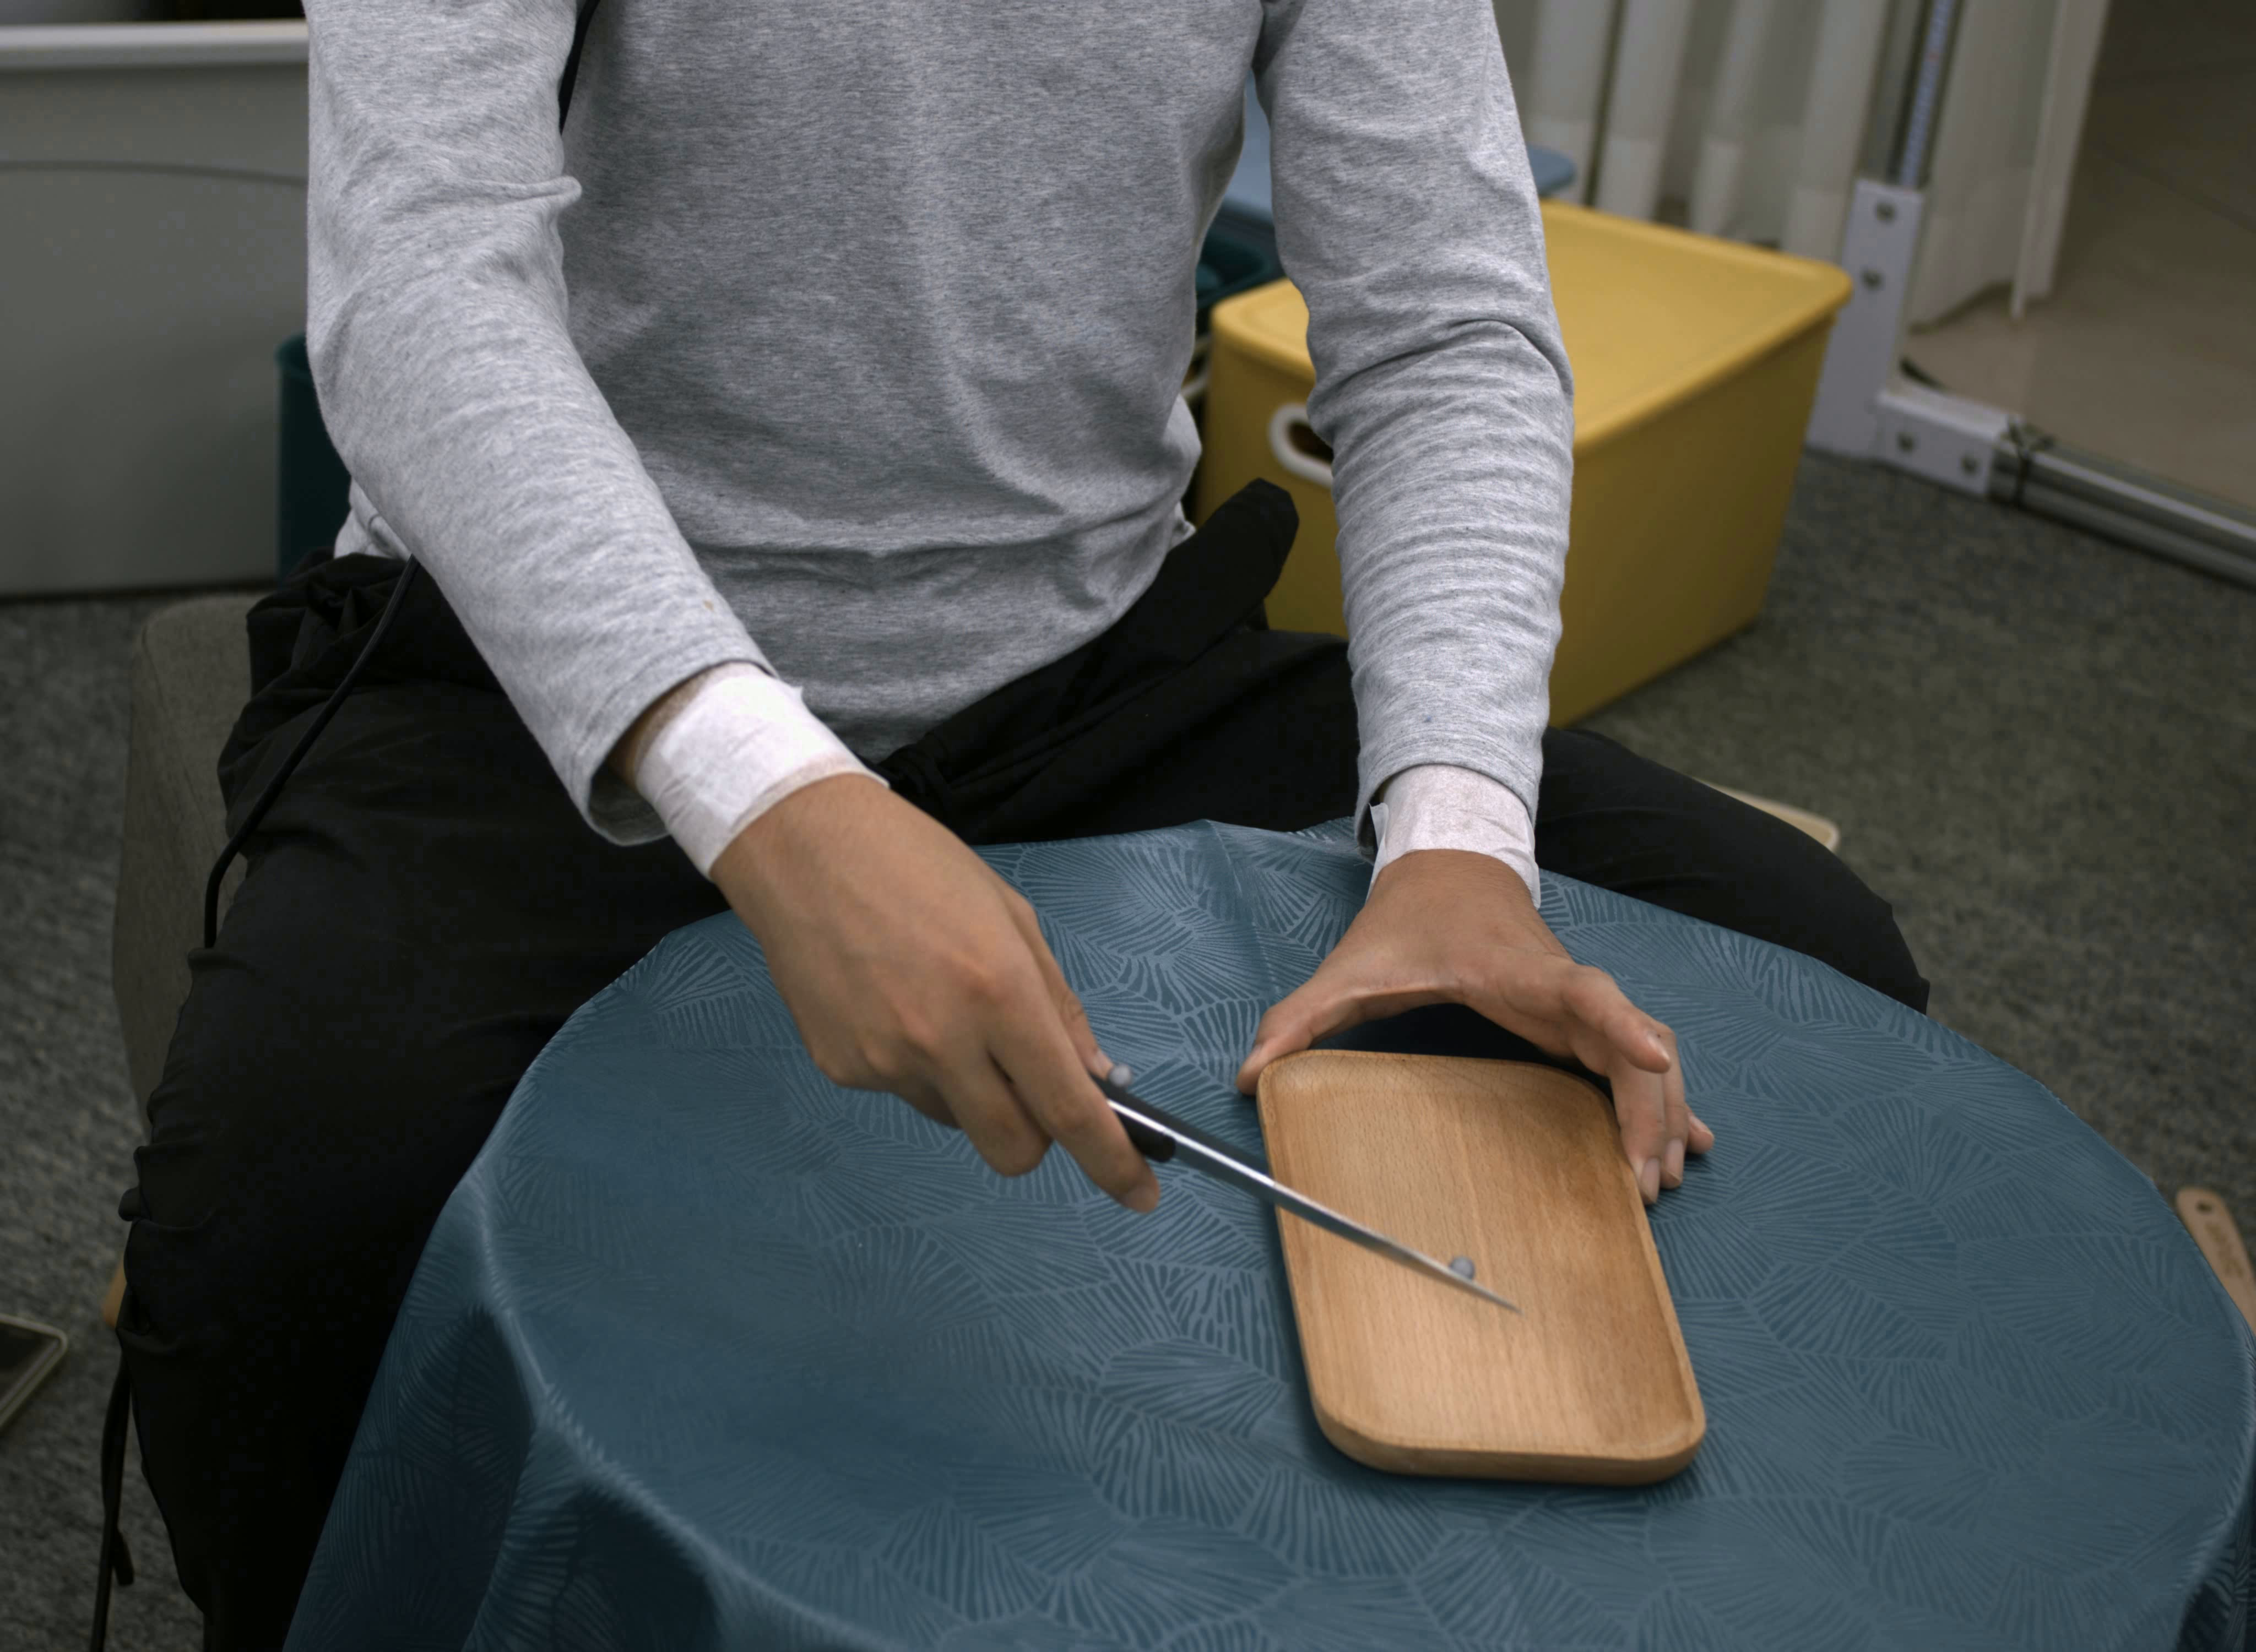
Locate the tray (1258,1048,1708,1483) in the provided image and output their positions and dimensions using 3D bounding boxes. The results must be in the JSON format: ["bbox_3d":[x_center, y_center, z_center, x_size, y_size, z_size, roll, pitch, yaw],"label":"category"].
[{"bbox_3d":[0.114,0.144,1.774,0.130,0.023,0.252,6,26,-6],"label":"tray"}]

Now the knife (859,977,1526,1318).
[{"bbox_3d":[0.018,0.100,1.658,0.239,0.024,0.016,25,73,17],"label":"knife"}]
